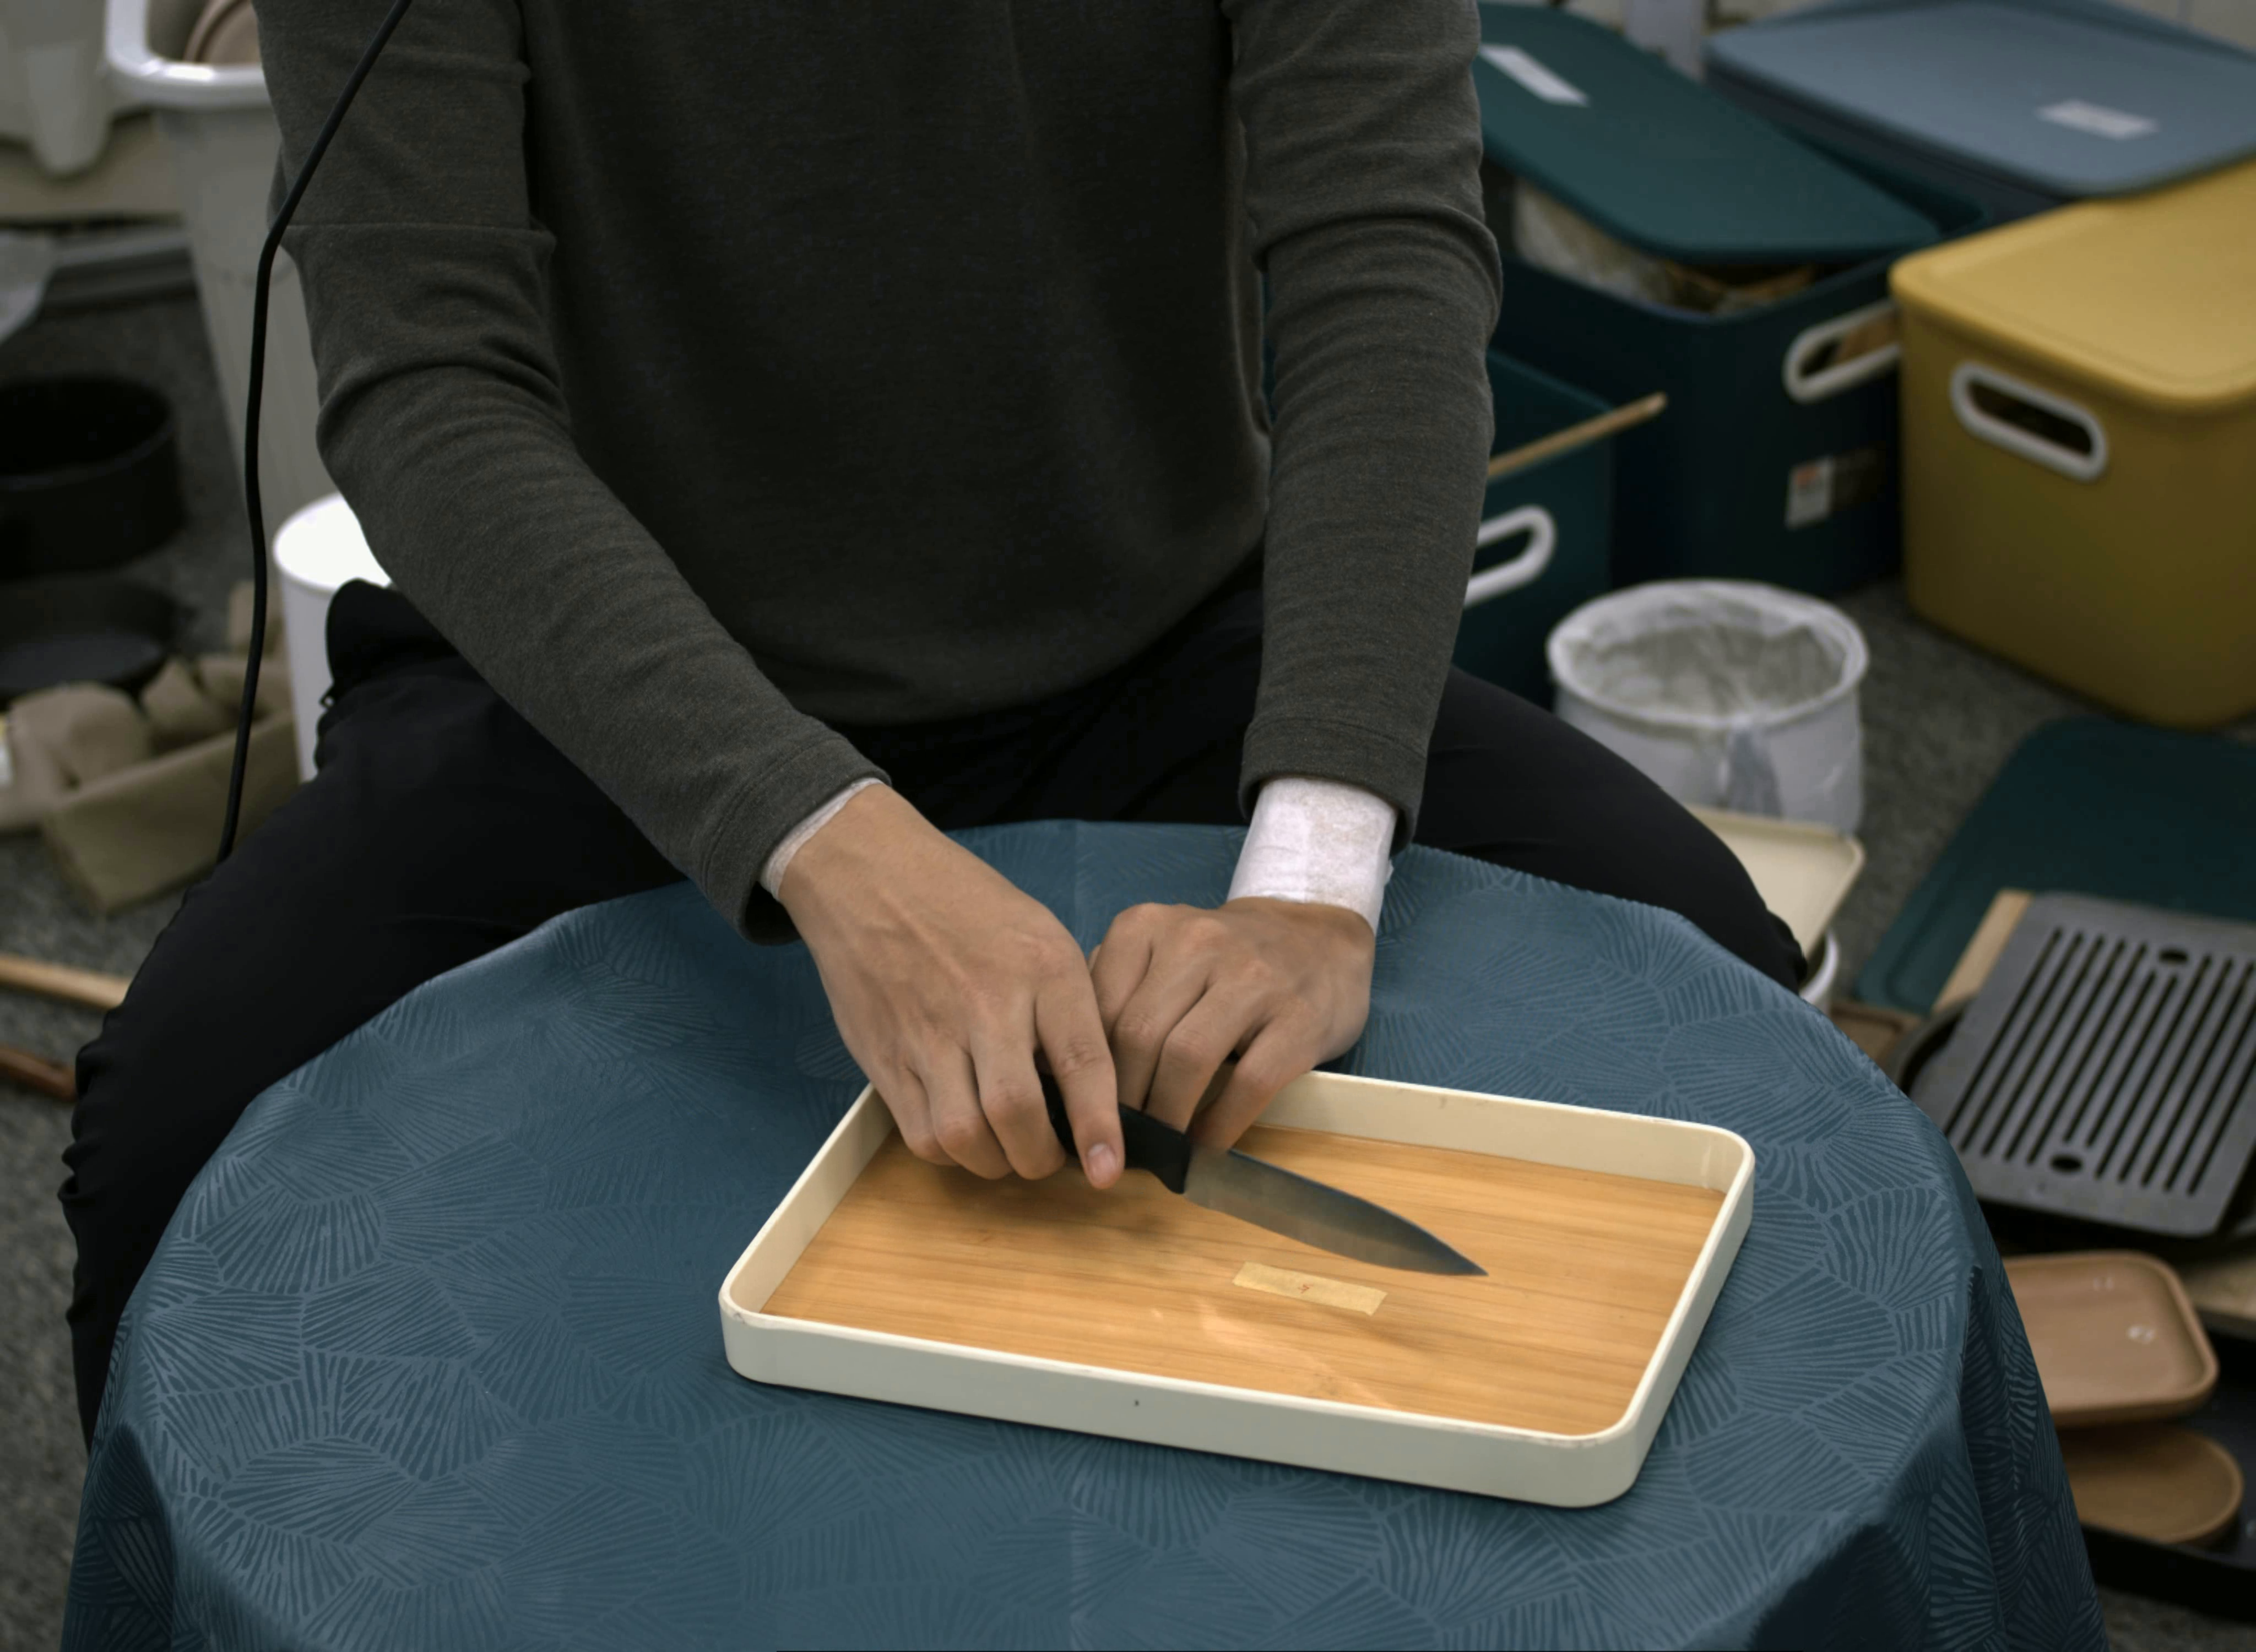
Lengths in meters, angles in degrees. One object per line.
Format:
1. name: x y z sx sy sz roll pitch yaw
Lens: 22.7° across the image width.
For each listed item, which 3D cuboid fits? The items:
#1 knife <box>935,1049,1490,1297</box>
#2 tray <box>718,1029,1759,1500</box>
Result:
1. knife: 0.025 0.111 1.802 0.237 0.024 0.016 19 25 40
2. tray: 0.037 0.137 1.800 0.298 0.027 0.195 7 28 18
